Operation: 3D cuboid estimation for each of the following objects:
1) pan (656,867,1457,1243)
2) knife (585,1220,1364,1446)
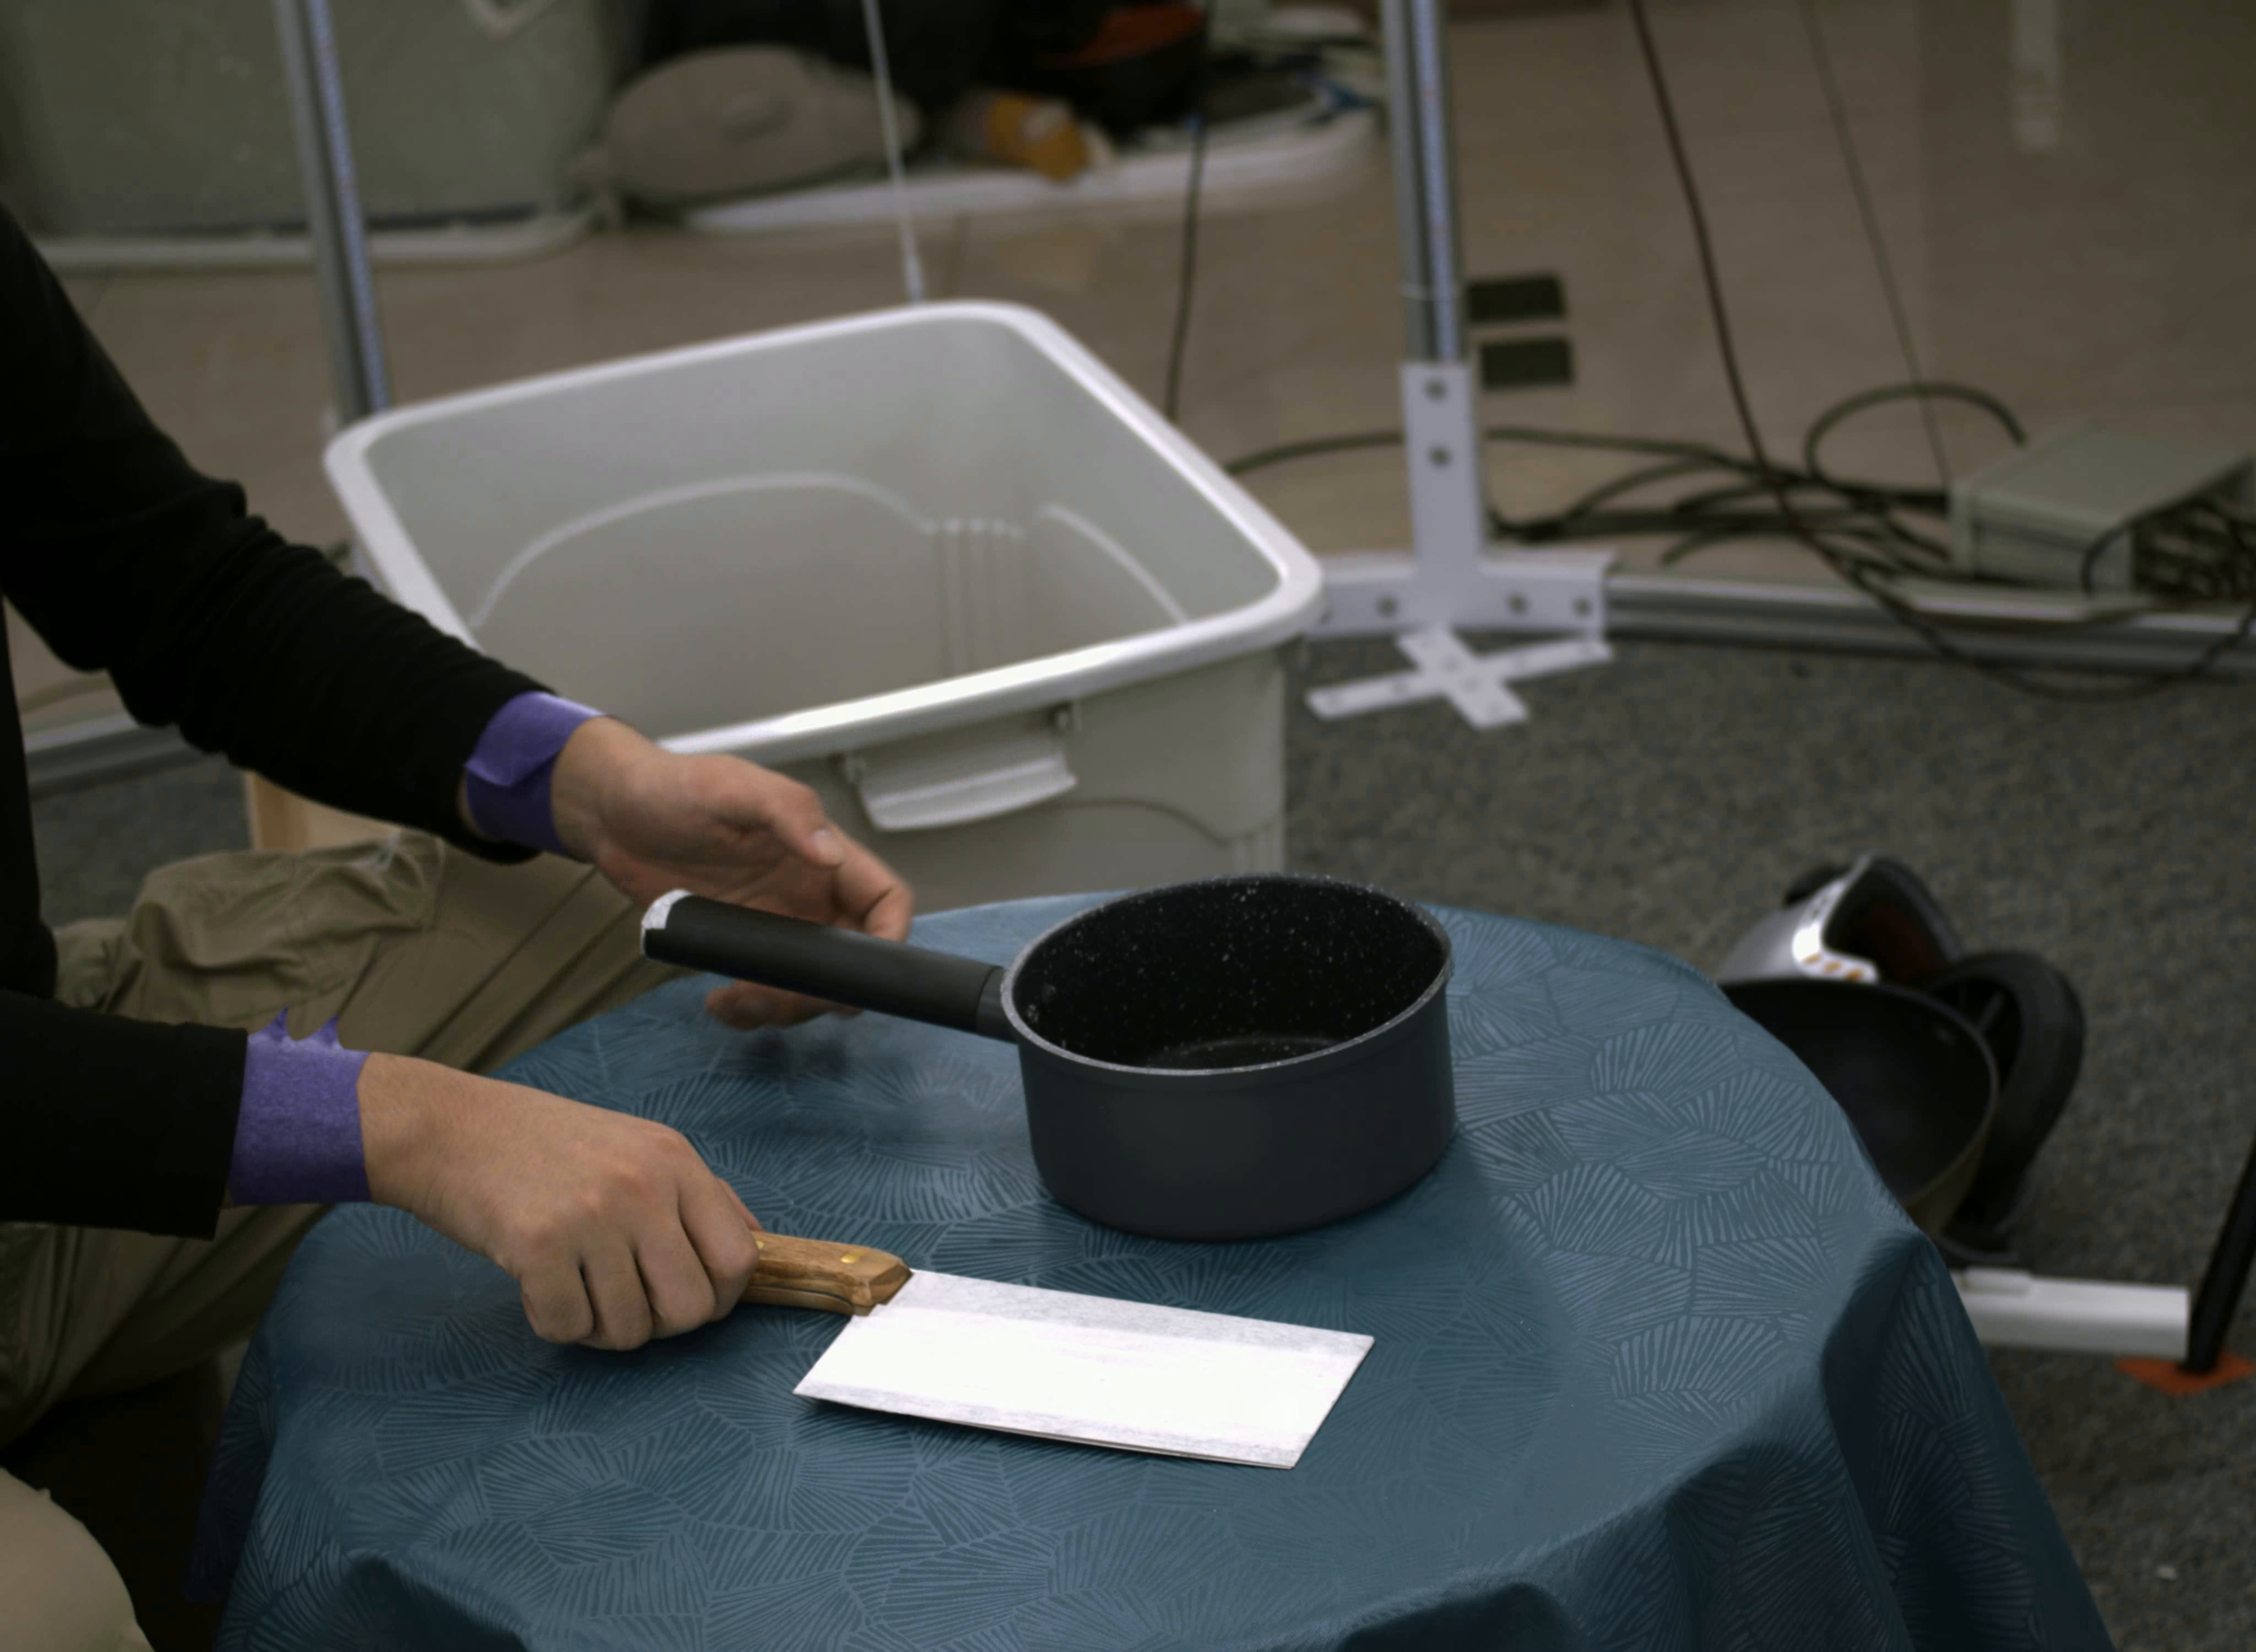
[{"bbox_3d":[-0.031,0.079,2.188,0.327,0.088,0.170,6,27,24],"label":"pan"},{"bbox_3d":[-0.068,0.186,2.048,0.305,0.021,0.091,7,29,21],"label":"knife"}]
